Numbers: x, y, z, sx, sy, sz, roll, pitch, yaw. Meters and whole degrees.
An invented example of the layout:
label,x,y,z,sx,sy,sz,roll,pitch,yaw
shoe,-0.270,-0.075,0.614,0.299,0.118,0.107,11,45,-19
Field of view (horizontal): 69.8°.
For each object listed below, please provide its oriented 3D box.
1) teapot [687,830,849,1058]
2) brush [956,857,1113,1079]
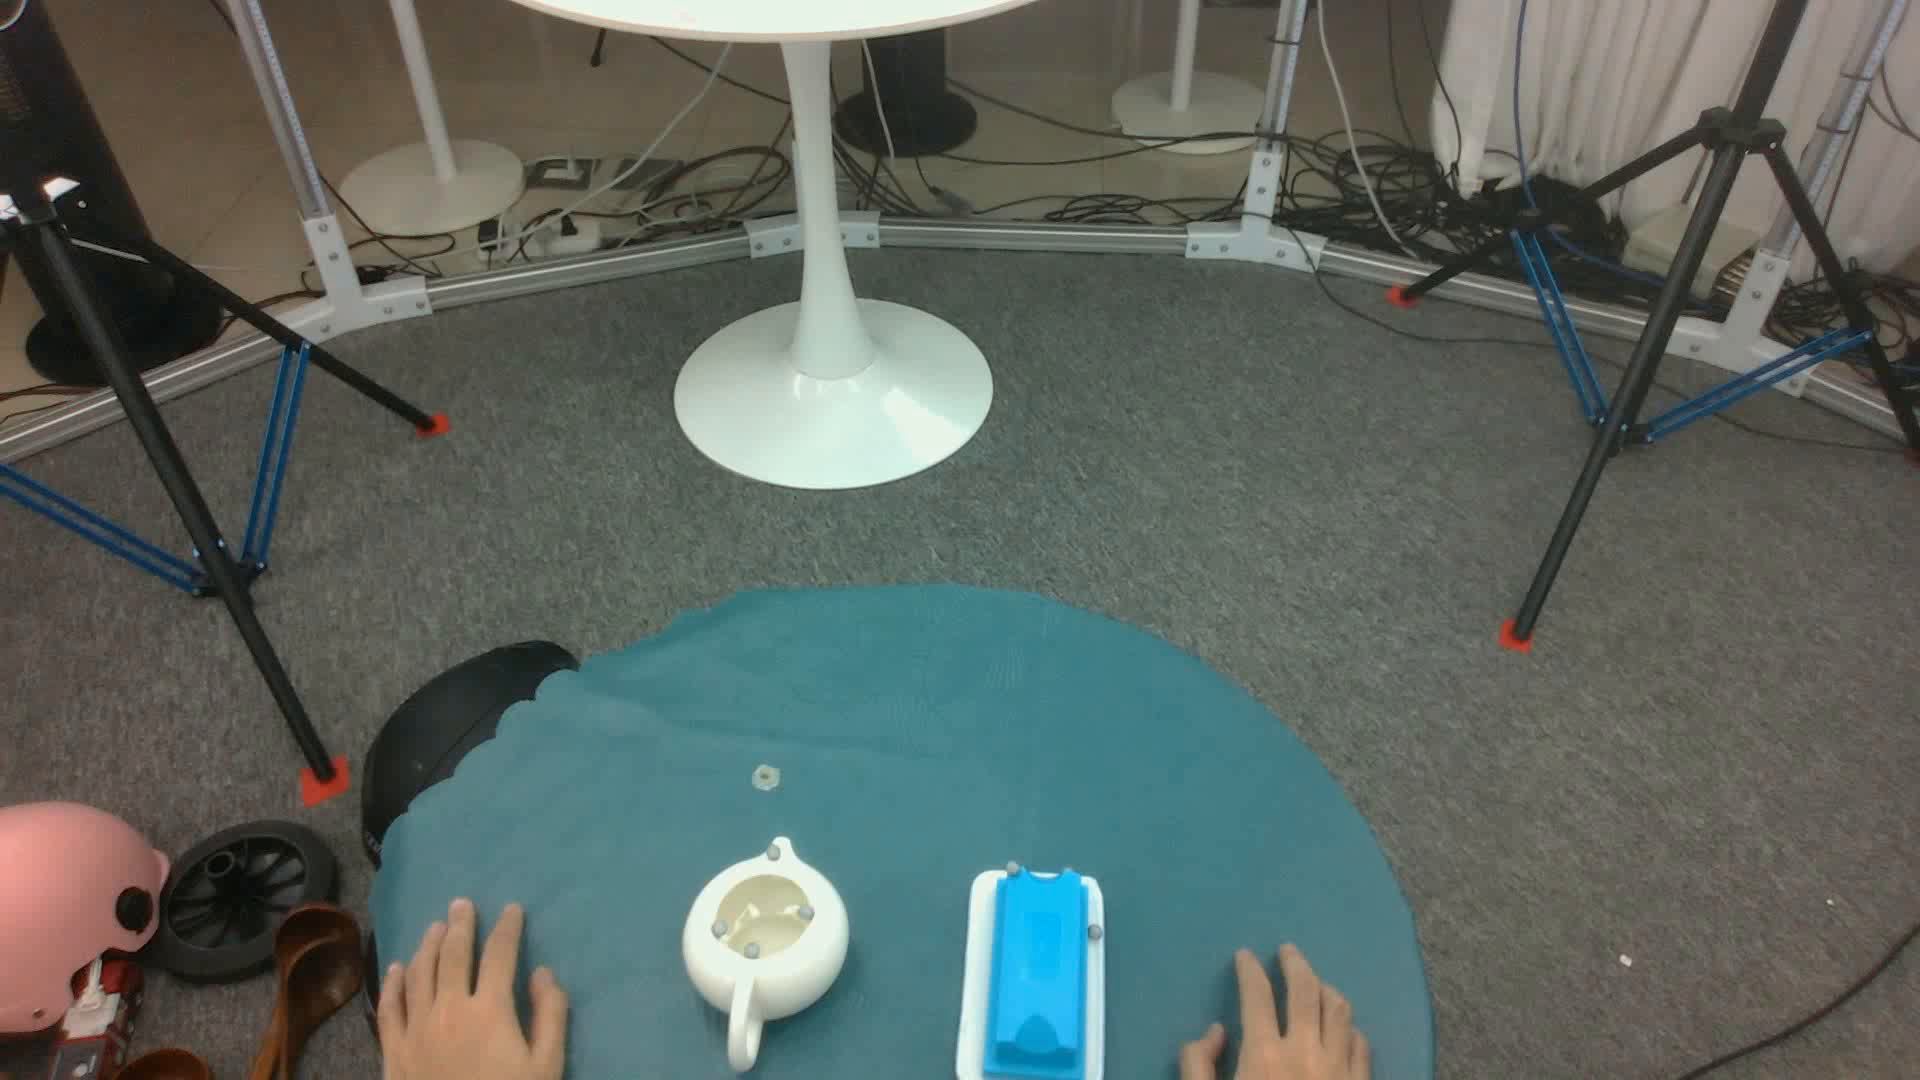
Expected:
label,x,y,z,sx,sy,sz,roll,pitch,yaw
teapot,-0.111,0.232,0.791,0.093,0.056,0.128,3,44,-1
brush,0.044,0.238,0.781,0.084,0.055,0.144,2,41,7
